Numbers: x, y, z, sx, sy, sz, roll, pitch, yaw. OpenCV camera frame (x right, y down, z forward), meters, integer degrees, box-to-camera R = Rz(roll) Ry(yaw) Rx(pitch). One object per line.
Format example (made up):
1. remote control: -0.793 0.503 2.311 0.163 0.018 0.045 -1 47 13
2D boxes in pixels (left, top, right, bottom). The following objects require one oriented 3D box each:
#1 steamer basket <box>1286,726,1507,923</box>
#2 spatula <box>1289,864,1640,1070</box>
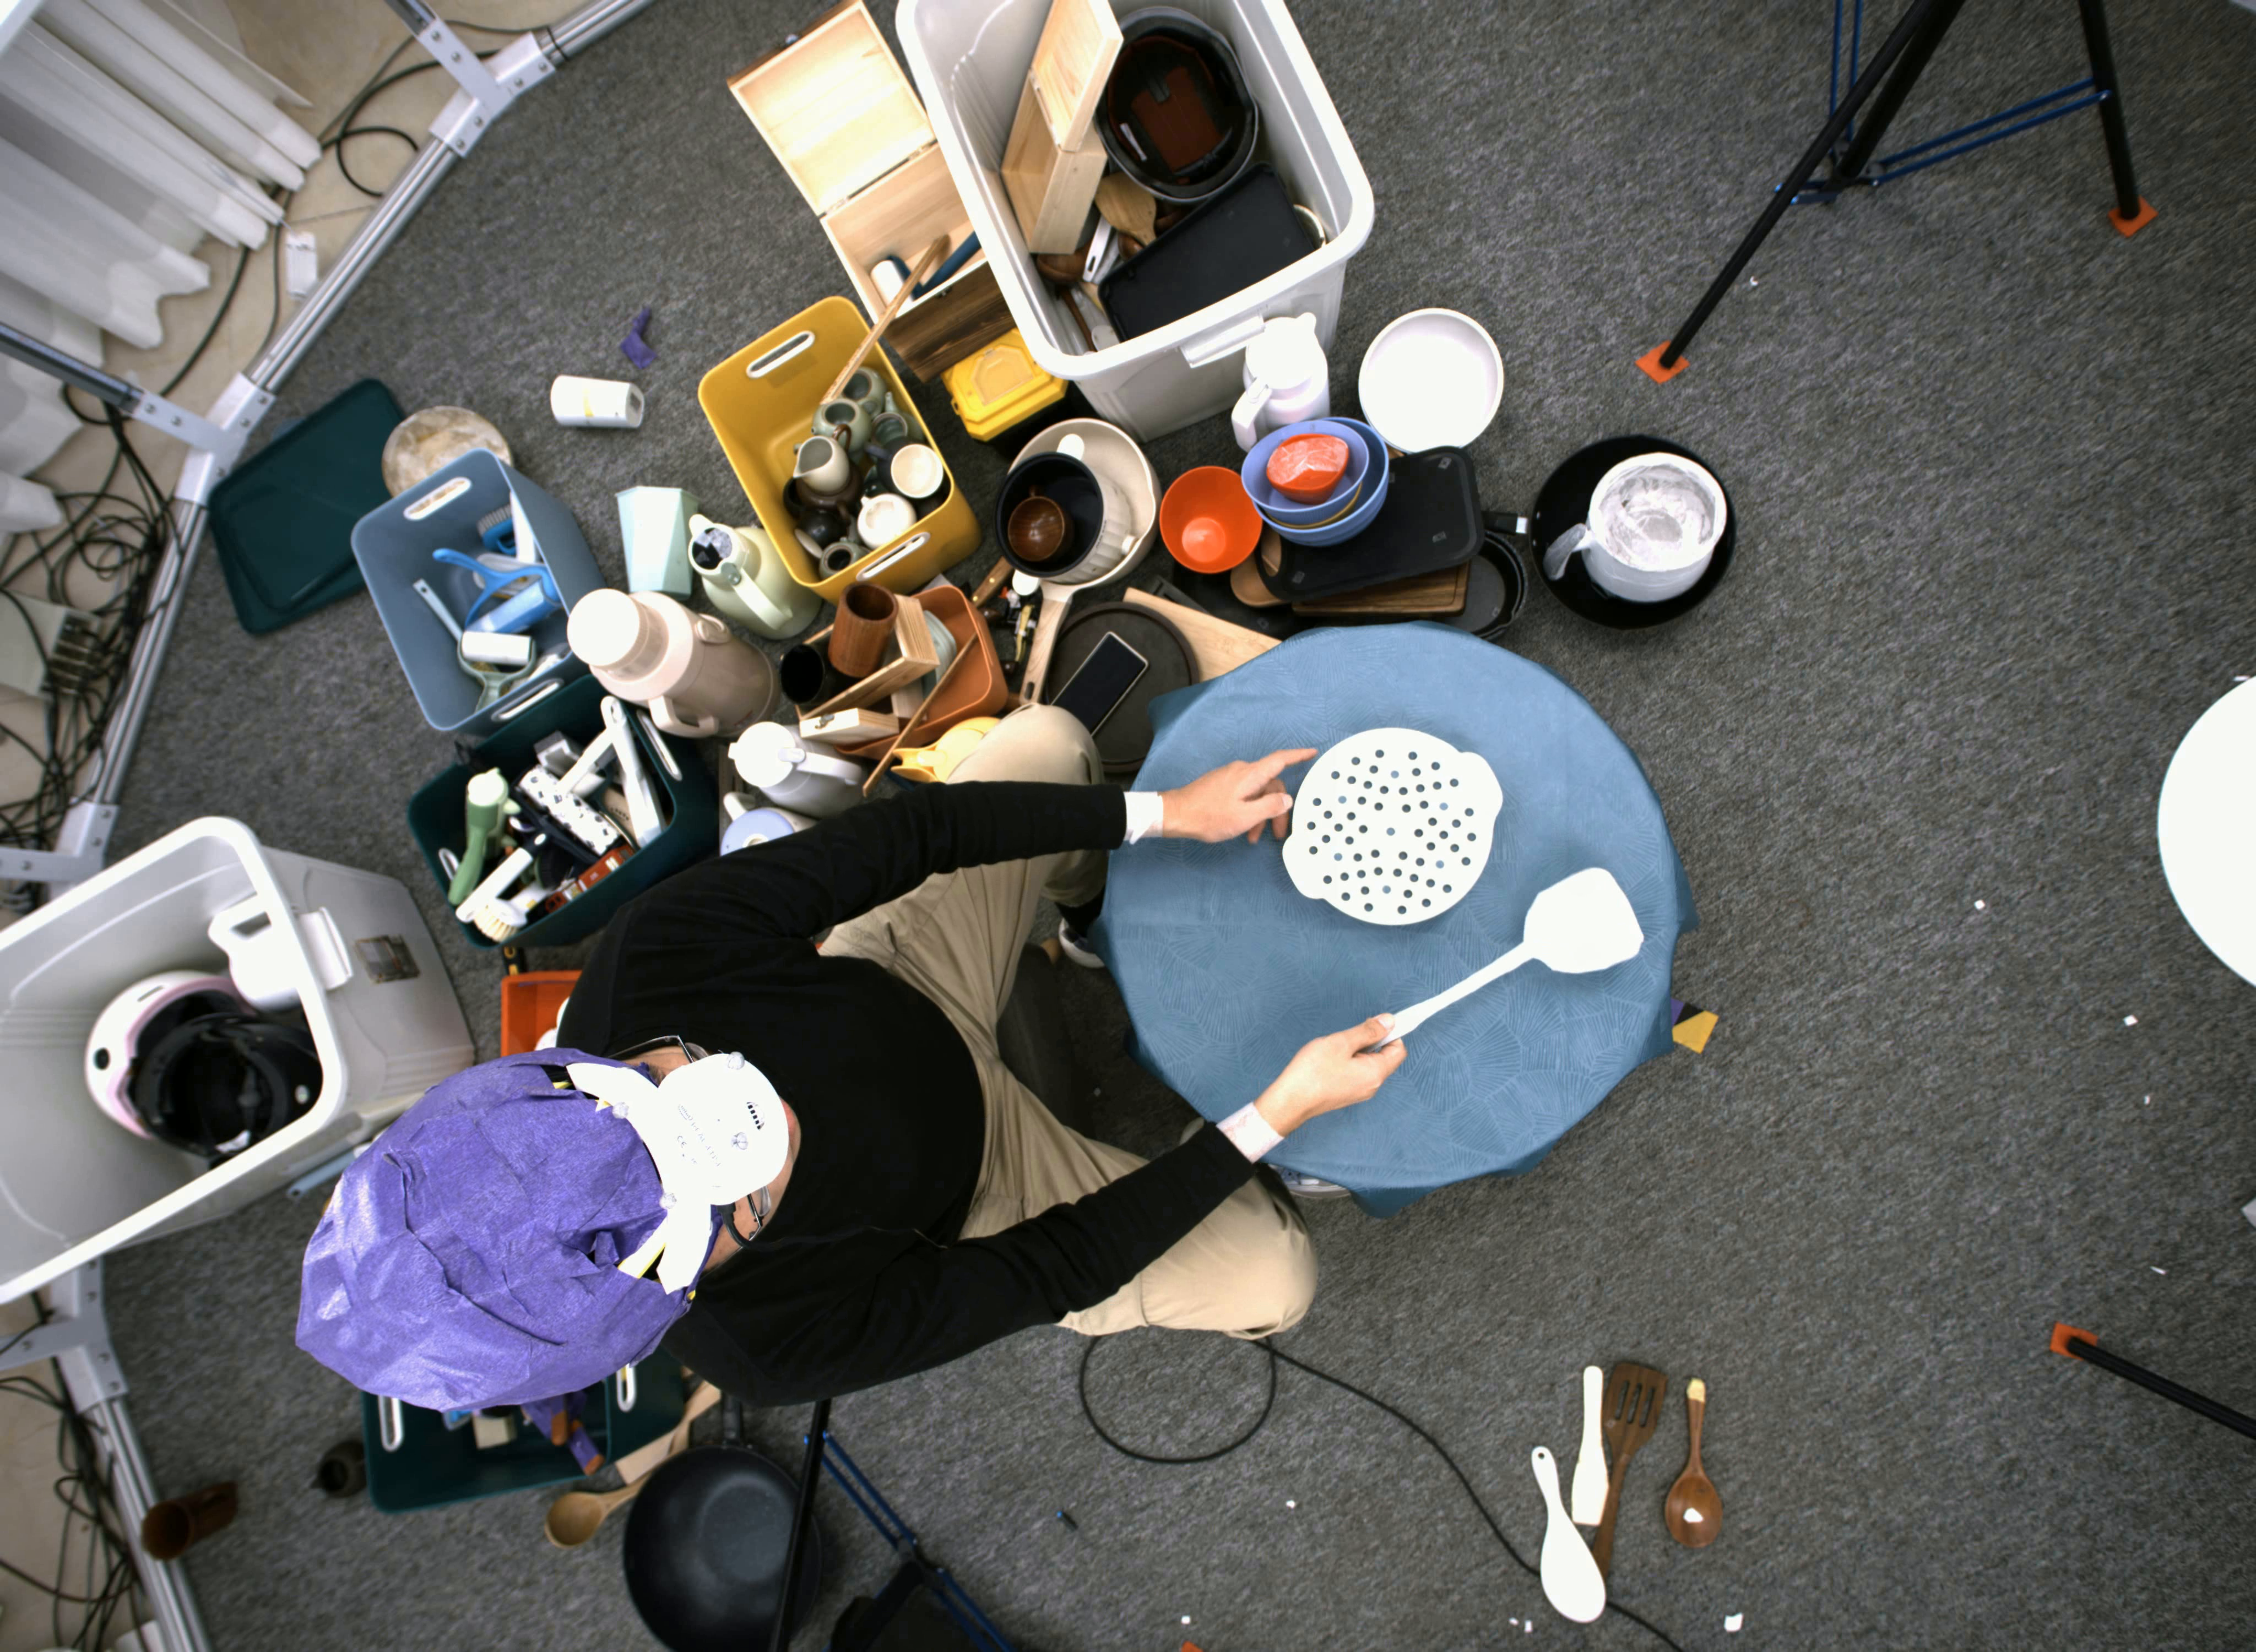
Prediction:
1. steamer basket: 0.277 -0.001 1.427 0.232 0.069 0.200 -26 81 9
2. spatula: 0.325 0.153 1.341 0.365 0.044 0.099 -28 96 -2
